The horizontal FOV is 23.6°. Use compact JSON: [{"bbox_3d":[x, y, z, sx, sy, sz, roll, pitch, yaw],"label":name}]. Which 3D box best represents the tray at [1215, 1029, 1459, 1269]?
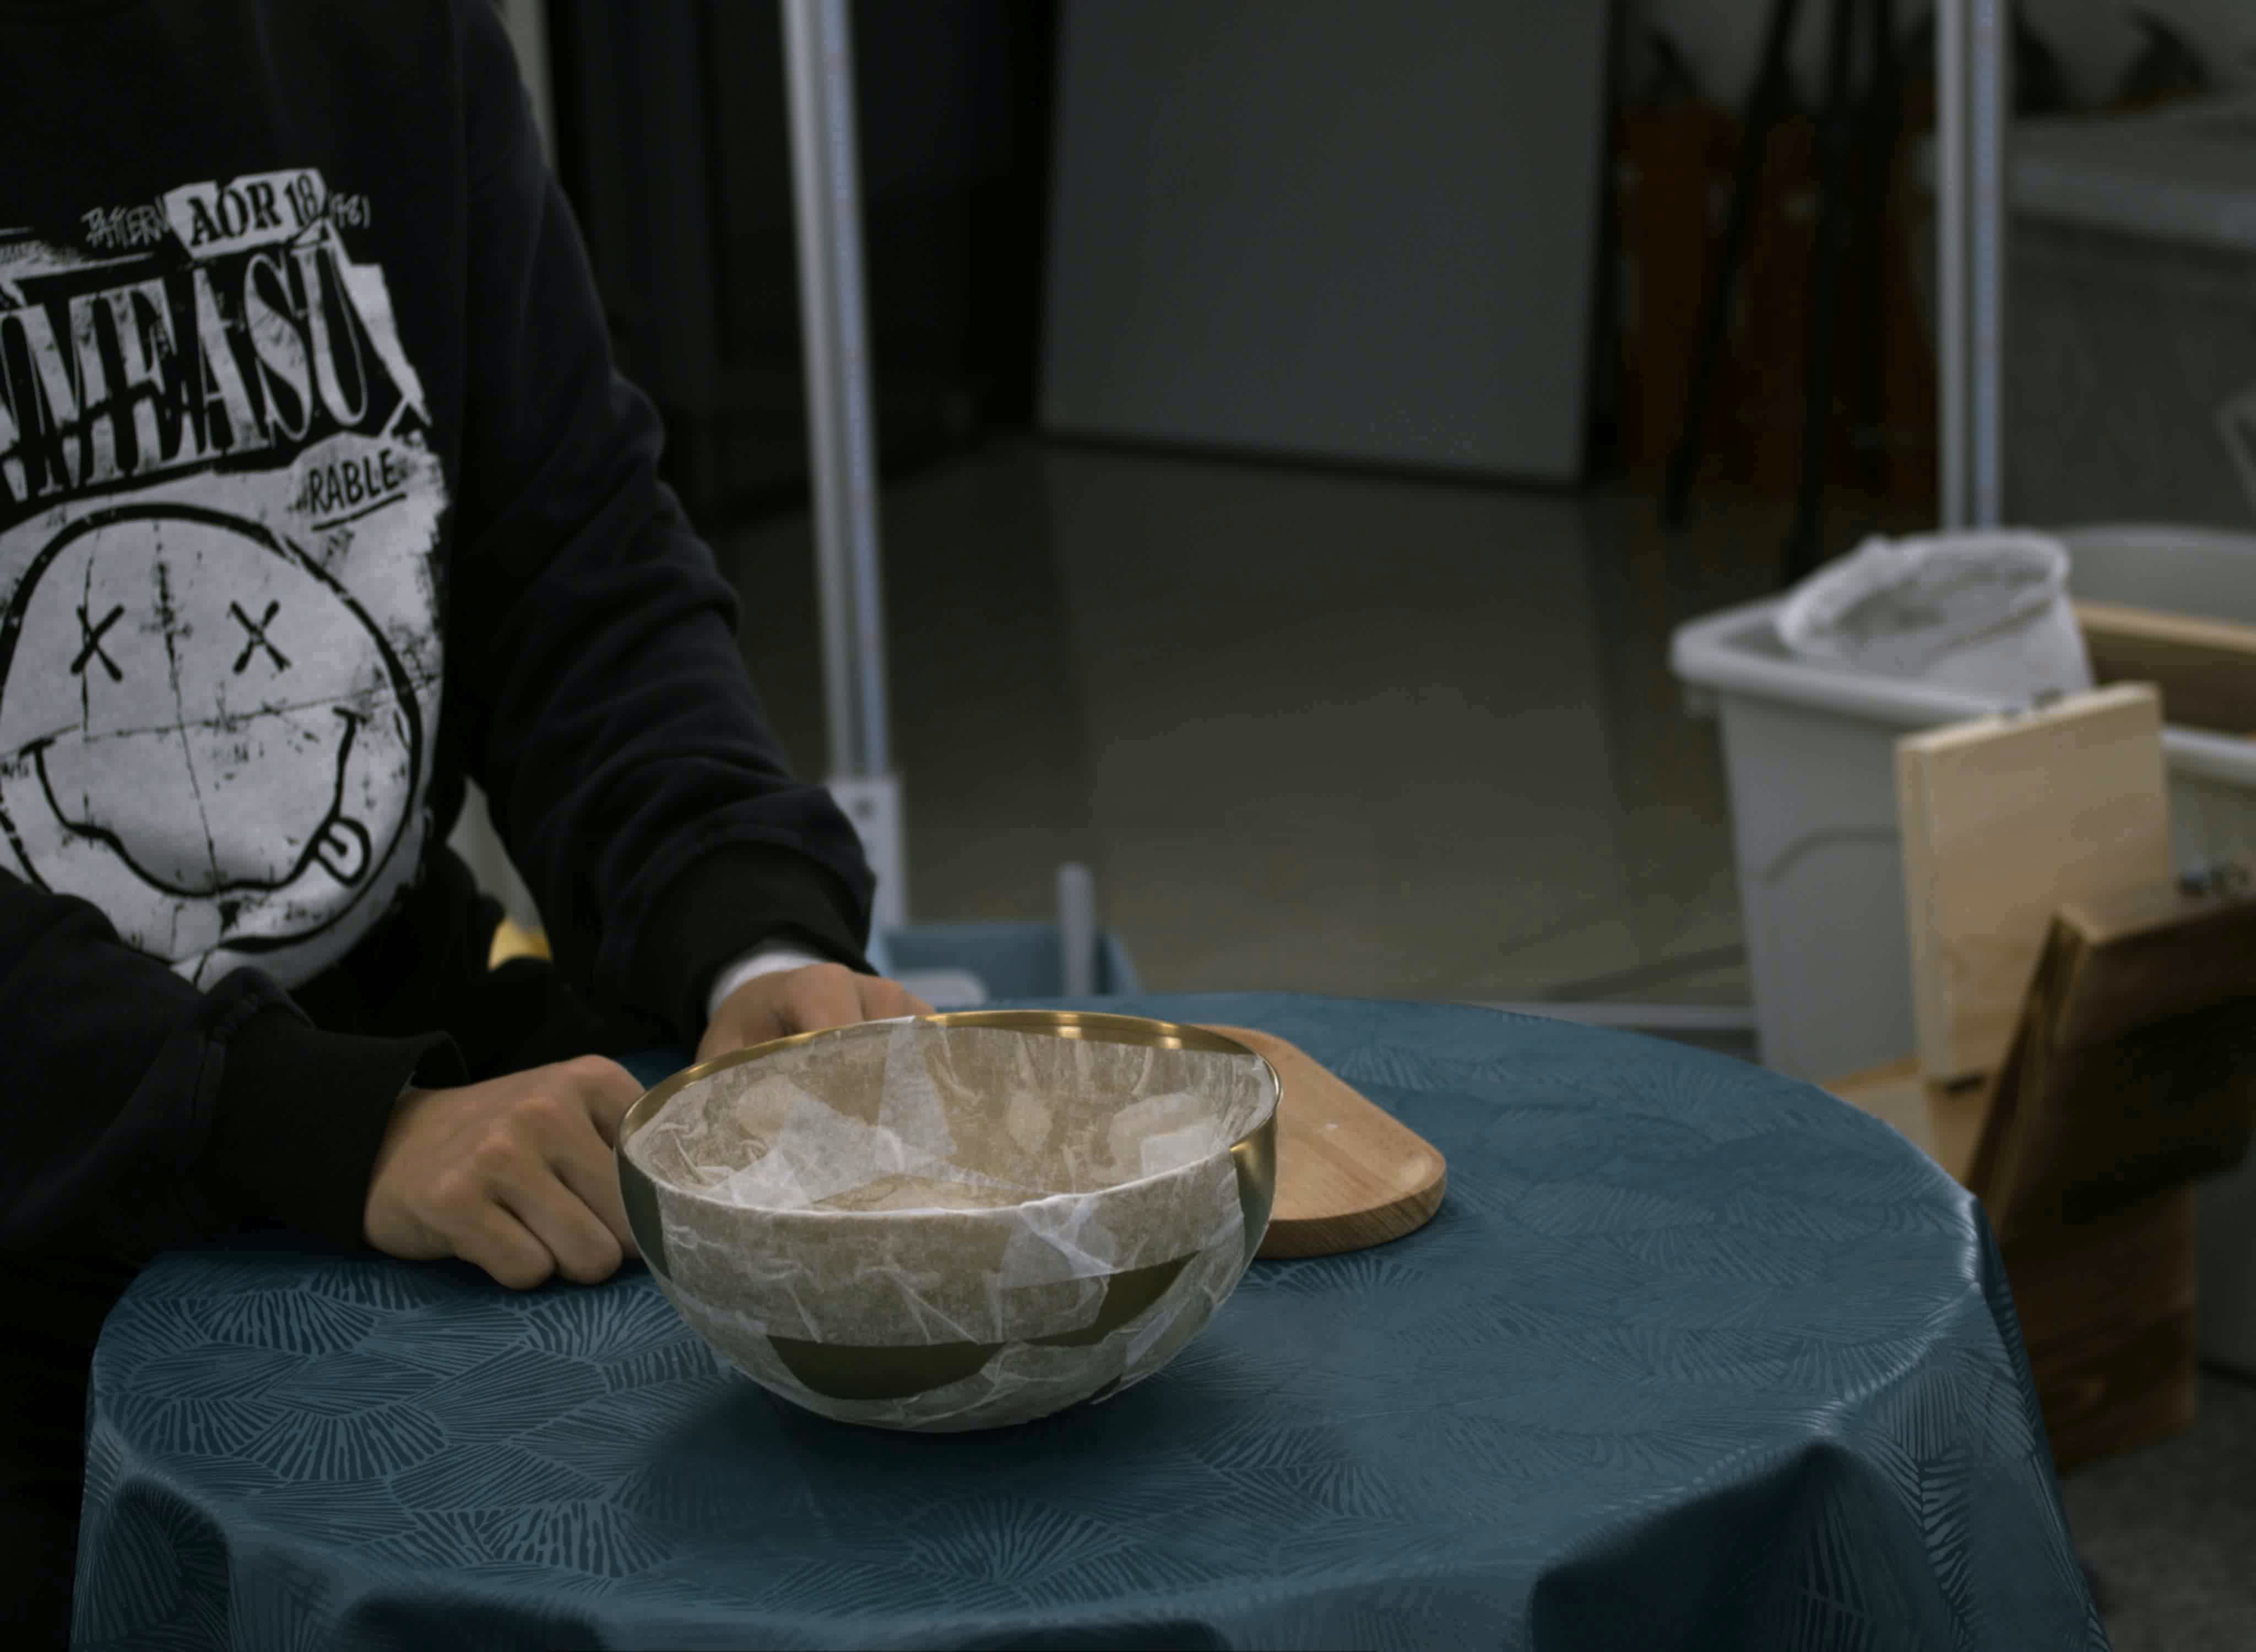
[{"bbox_3d":[0.034,0.106,1.794,0.100,0.020,0.233,-11,17,-17],"label":"tray"}]

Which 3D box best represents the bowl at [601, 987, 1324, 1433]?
[{"bbox_3d":[-0.046,0.121,1.586,0.212,0.095,0.215,-5,14,0],"label":"bowl"}]
